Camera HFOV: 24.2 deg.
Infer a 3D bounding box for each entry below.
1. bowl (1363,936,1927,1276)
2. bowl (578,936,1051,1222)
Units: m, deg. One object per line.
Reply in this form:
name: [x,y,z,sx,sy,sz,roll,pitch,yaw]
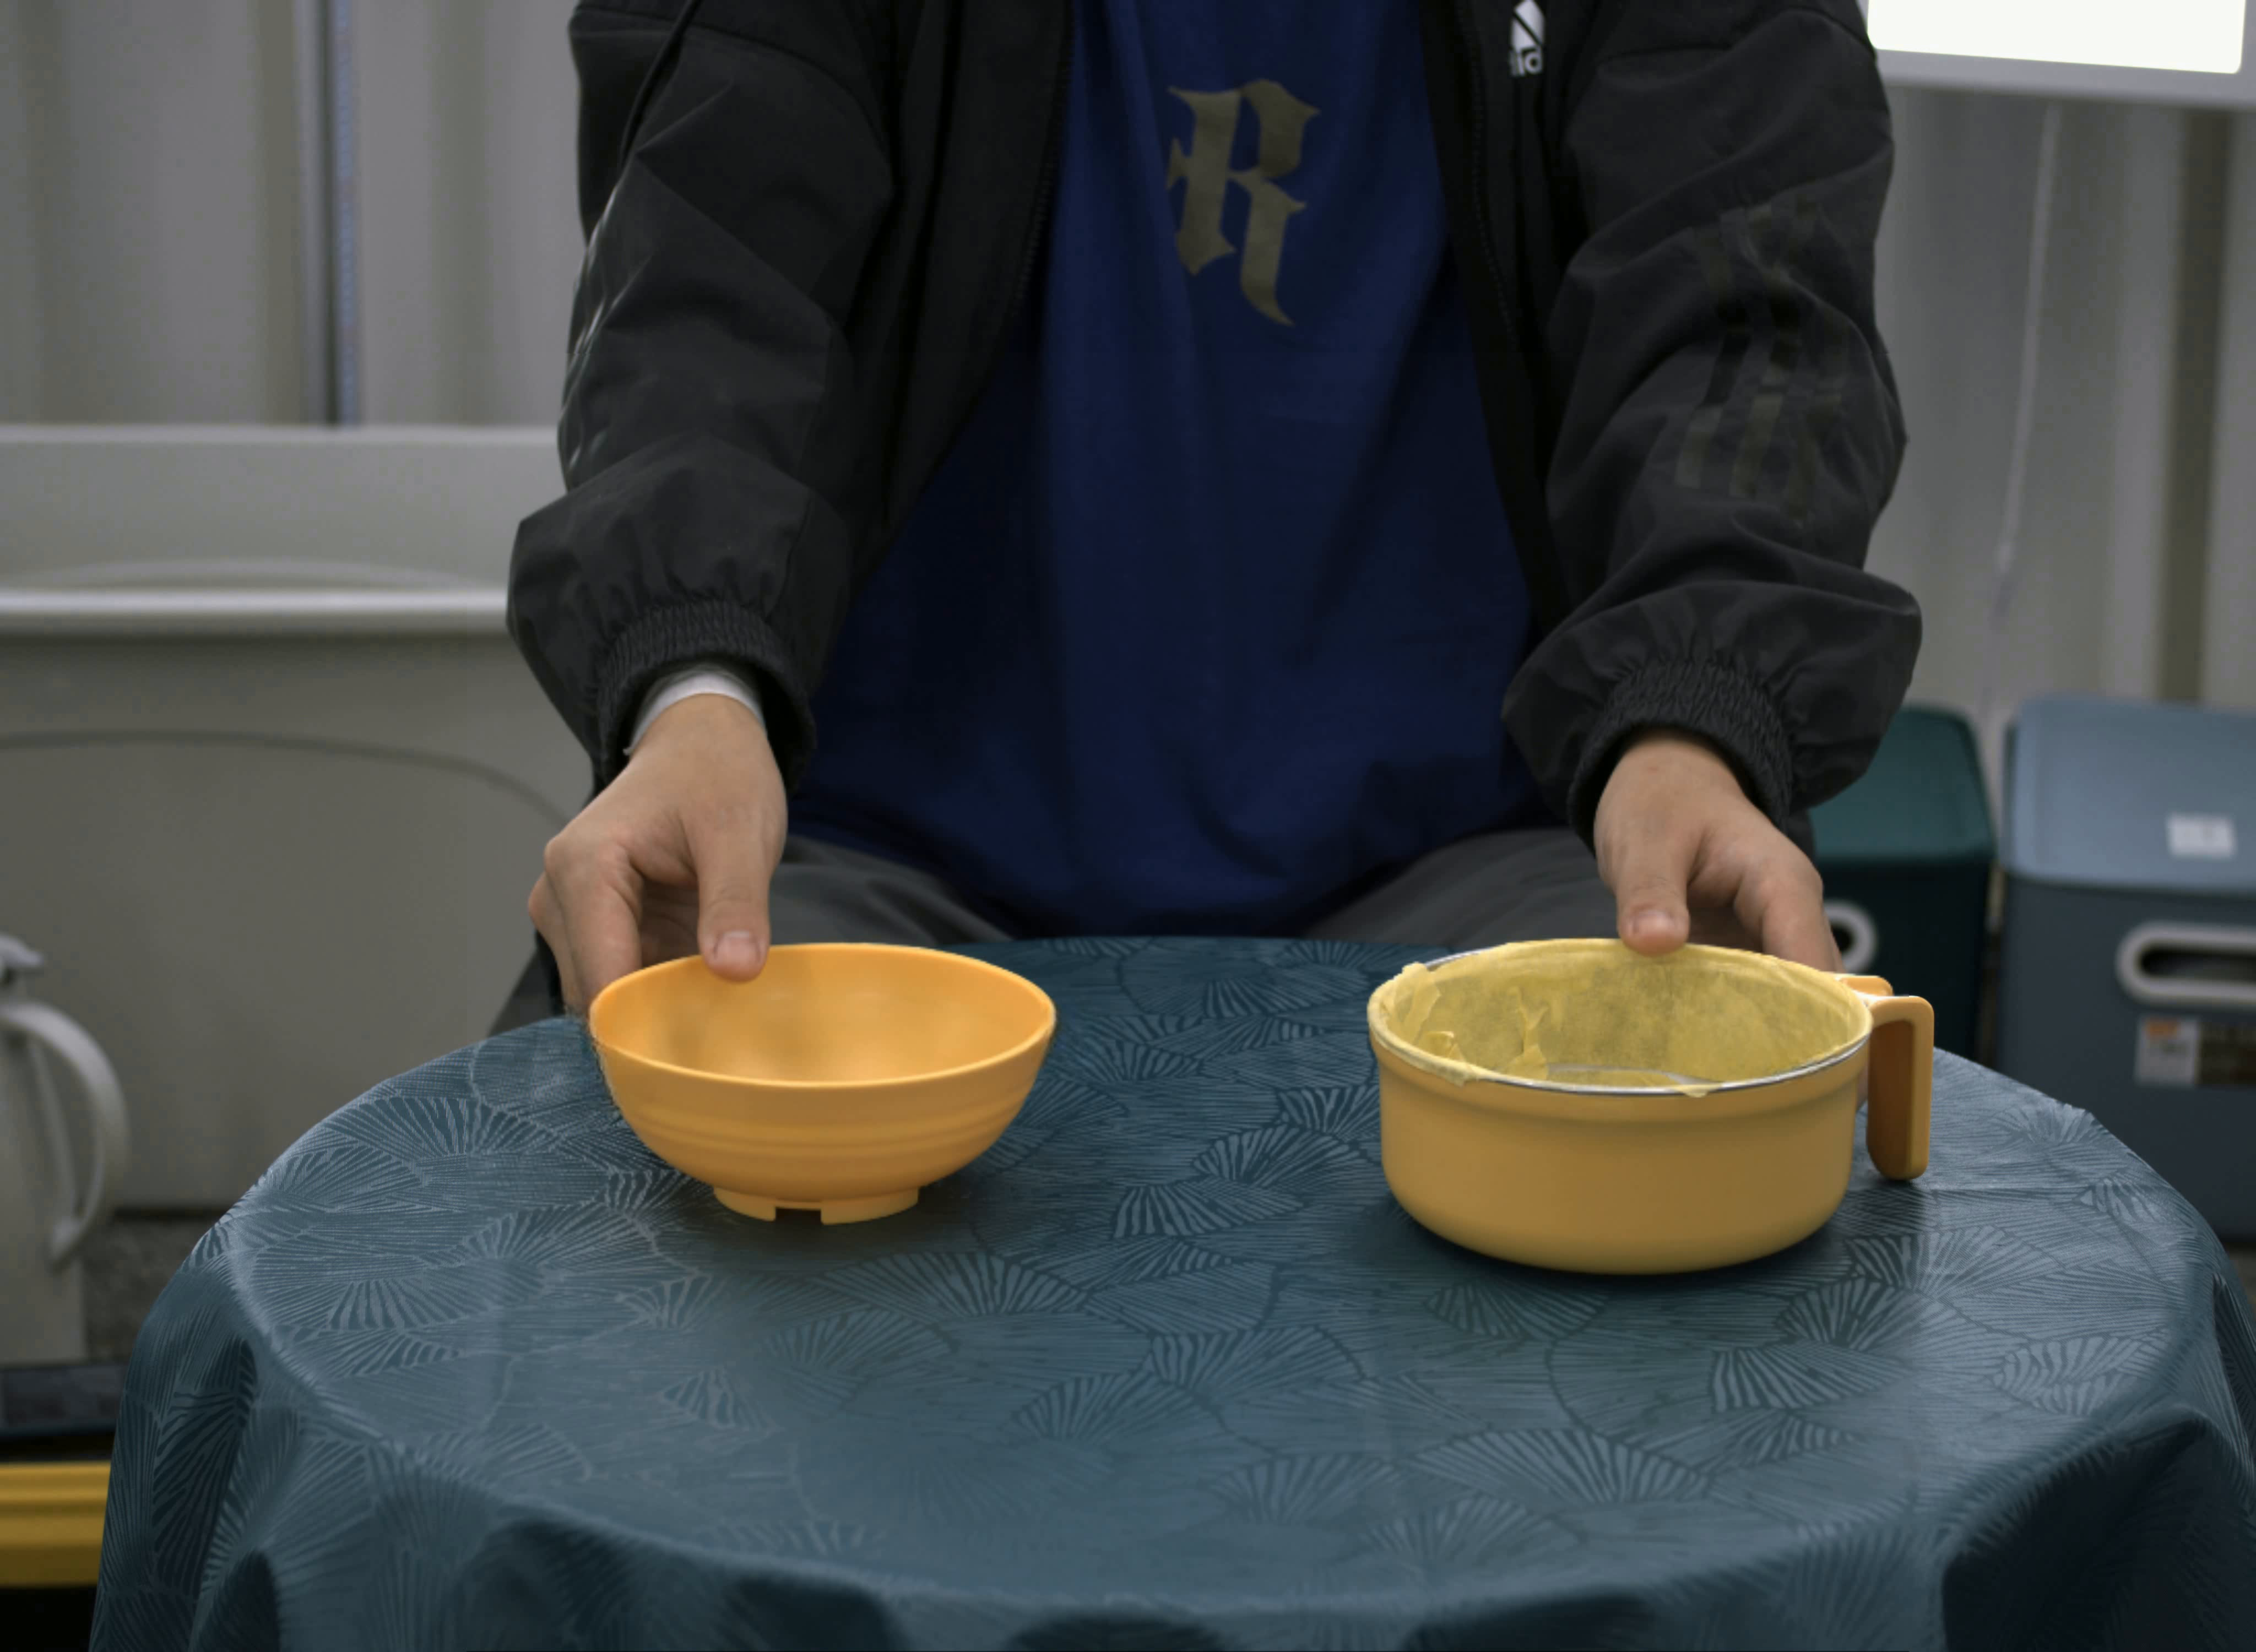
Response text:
bowl: [0.160,0.085,1.597,0.180,0.075,0.151,-8,15,-26]
bowl: [-0.097,0.083,1.614,0.145,0.060,0.144,3,16,0]
